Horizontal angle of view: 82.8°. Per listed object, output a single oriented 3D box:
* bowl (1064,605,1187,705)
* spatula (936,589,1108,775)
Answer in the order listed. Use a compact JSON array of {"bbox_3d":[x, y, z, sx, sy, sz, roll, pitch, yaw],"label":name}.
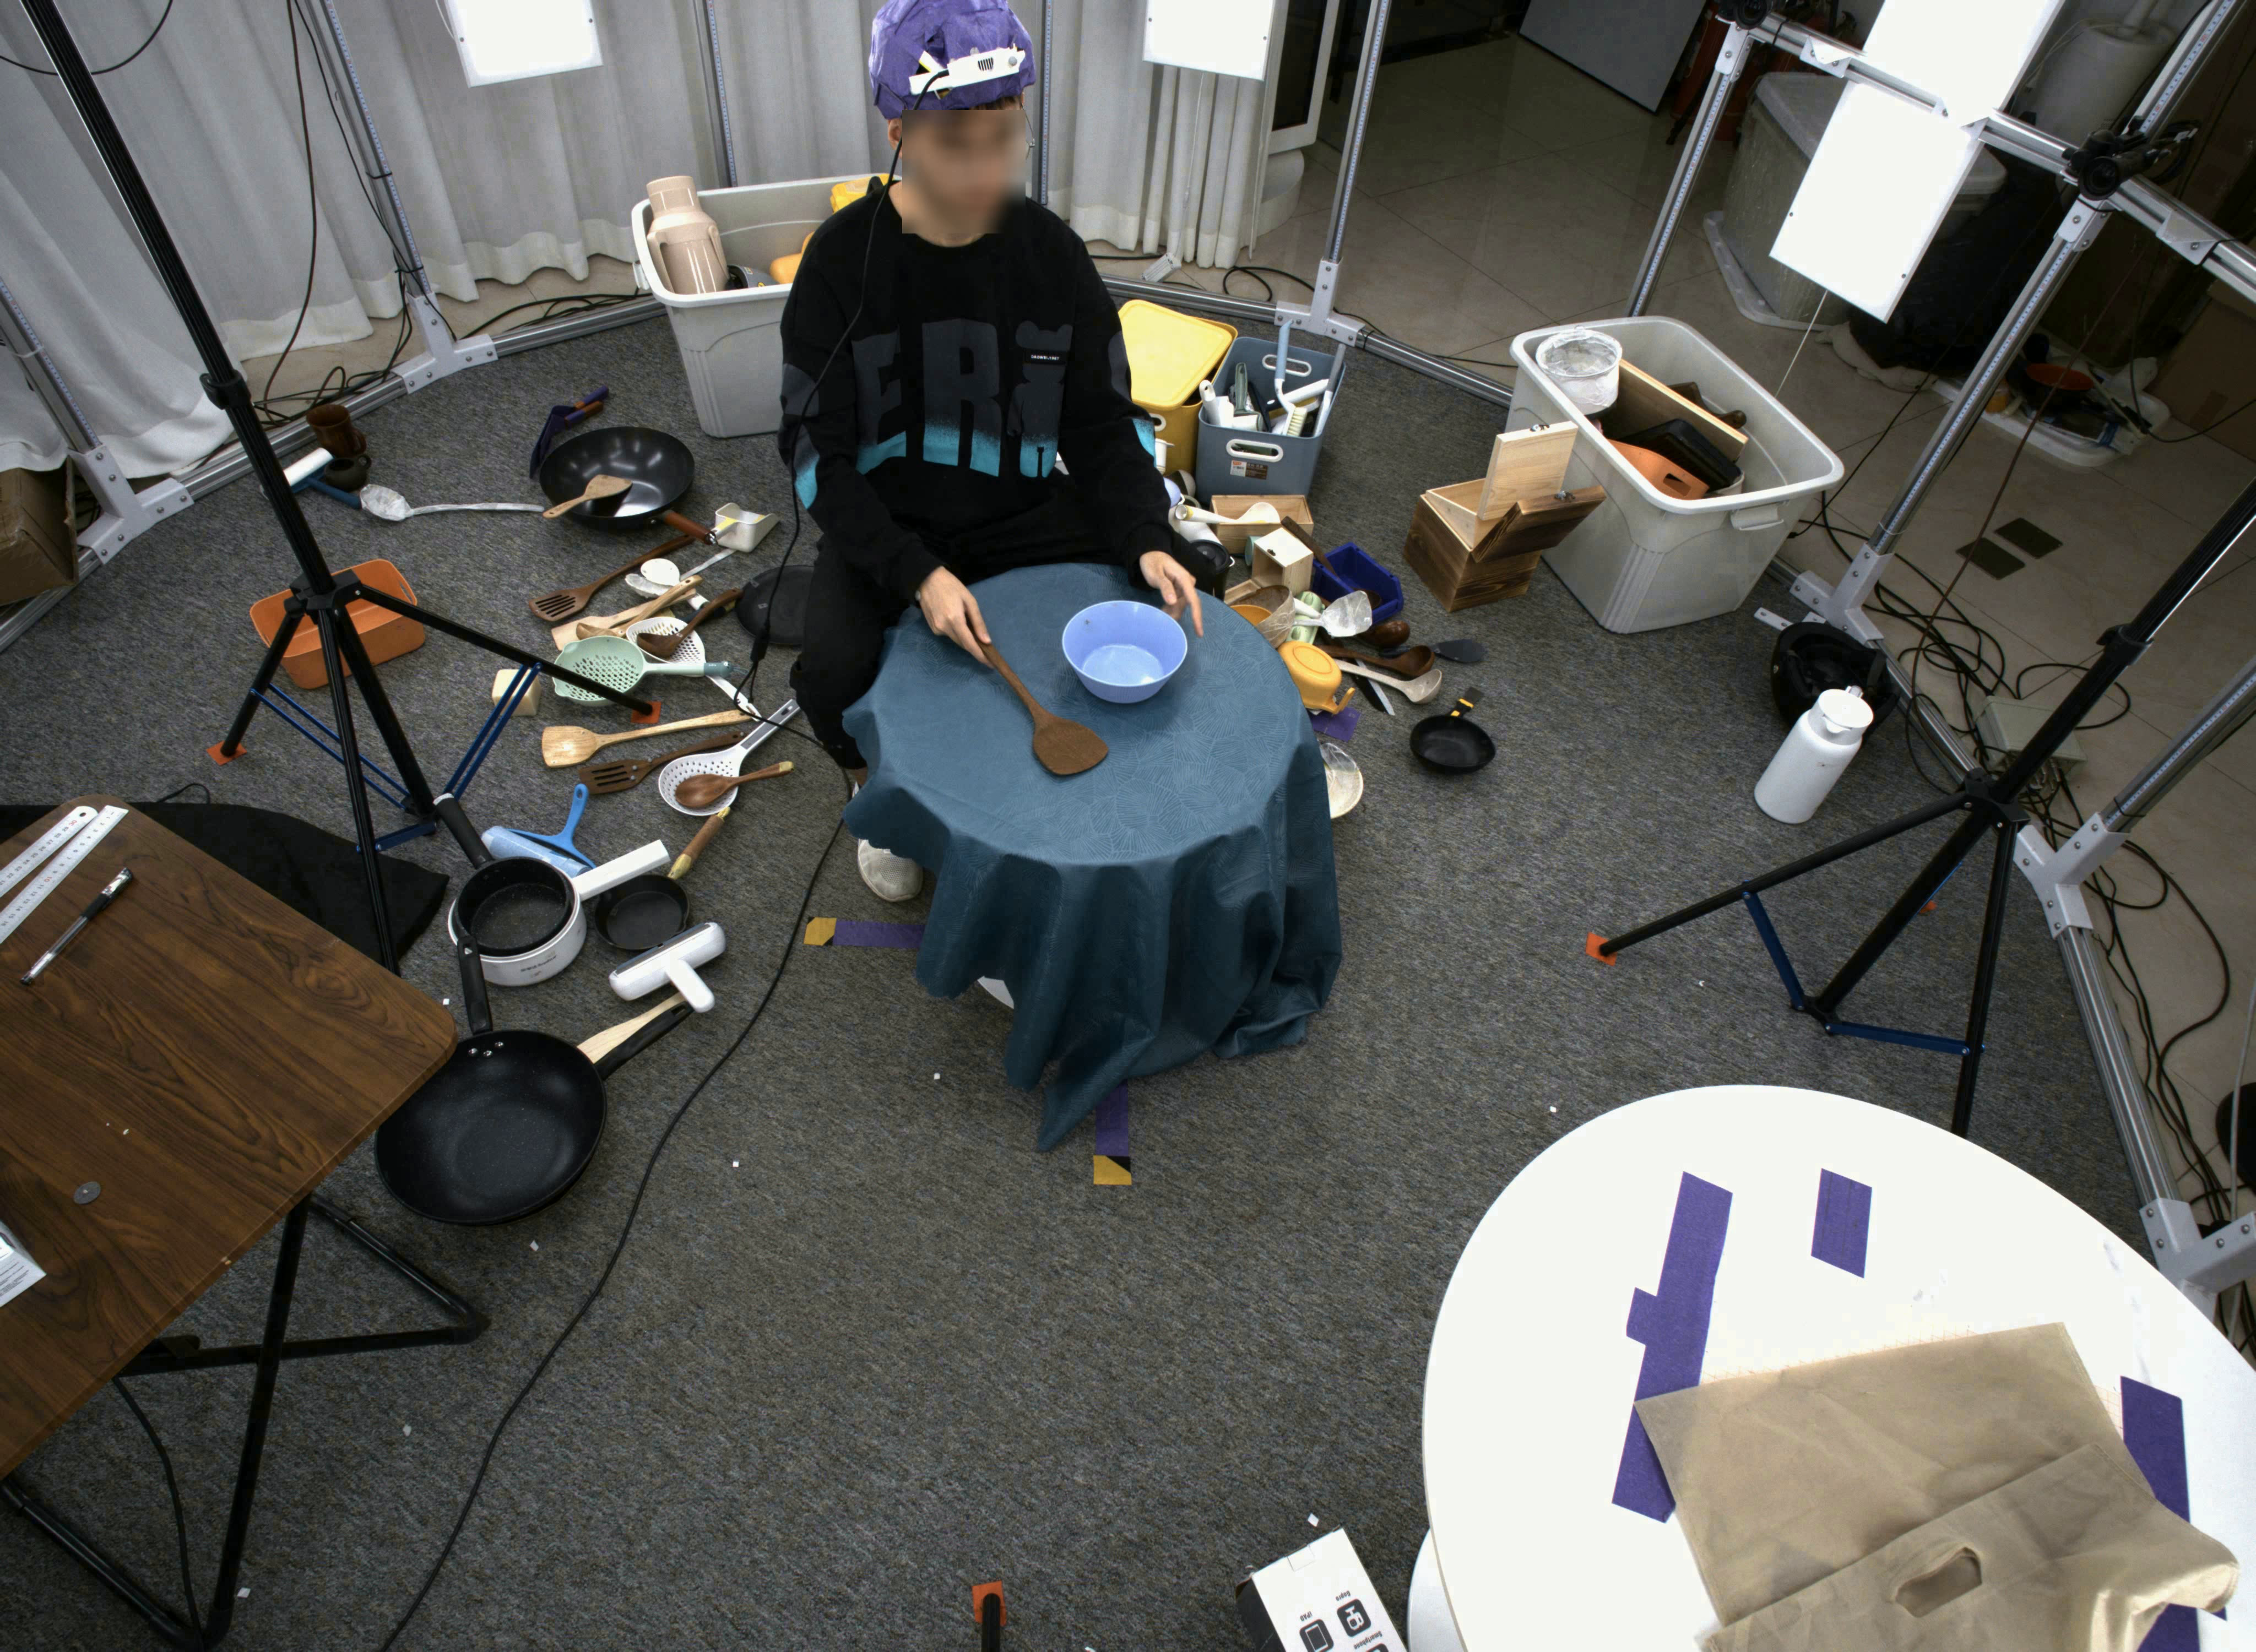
[{"bbox_3d":[-0.005,-0.237,1.846,0.176,0.068,0.180,1,48,-2],"label":"bowl"},{"bbox_3d":[-0.167,-0.214,1.828,0.096,0.015,0.392,-25,62,-27],"label":"spatula"}]
